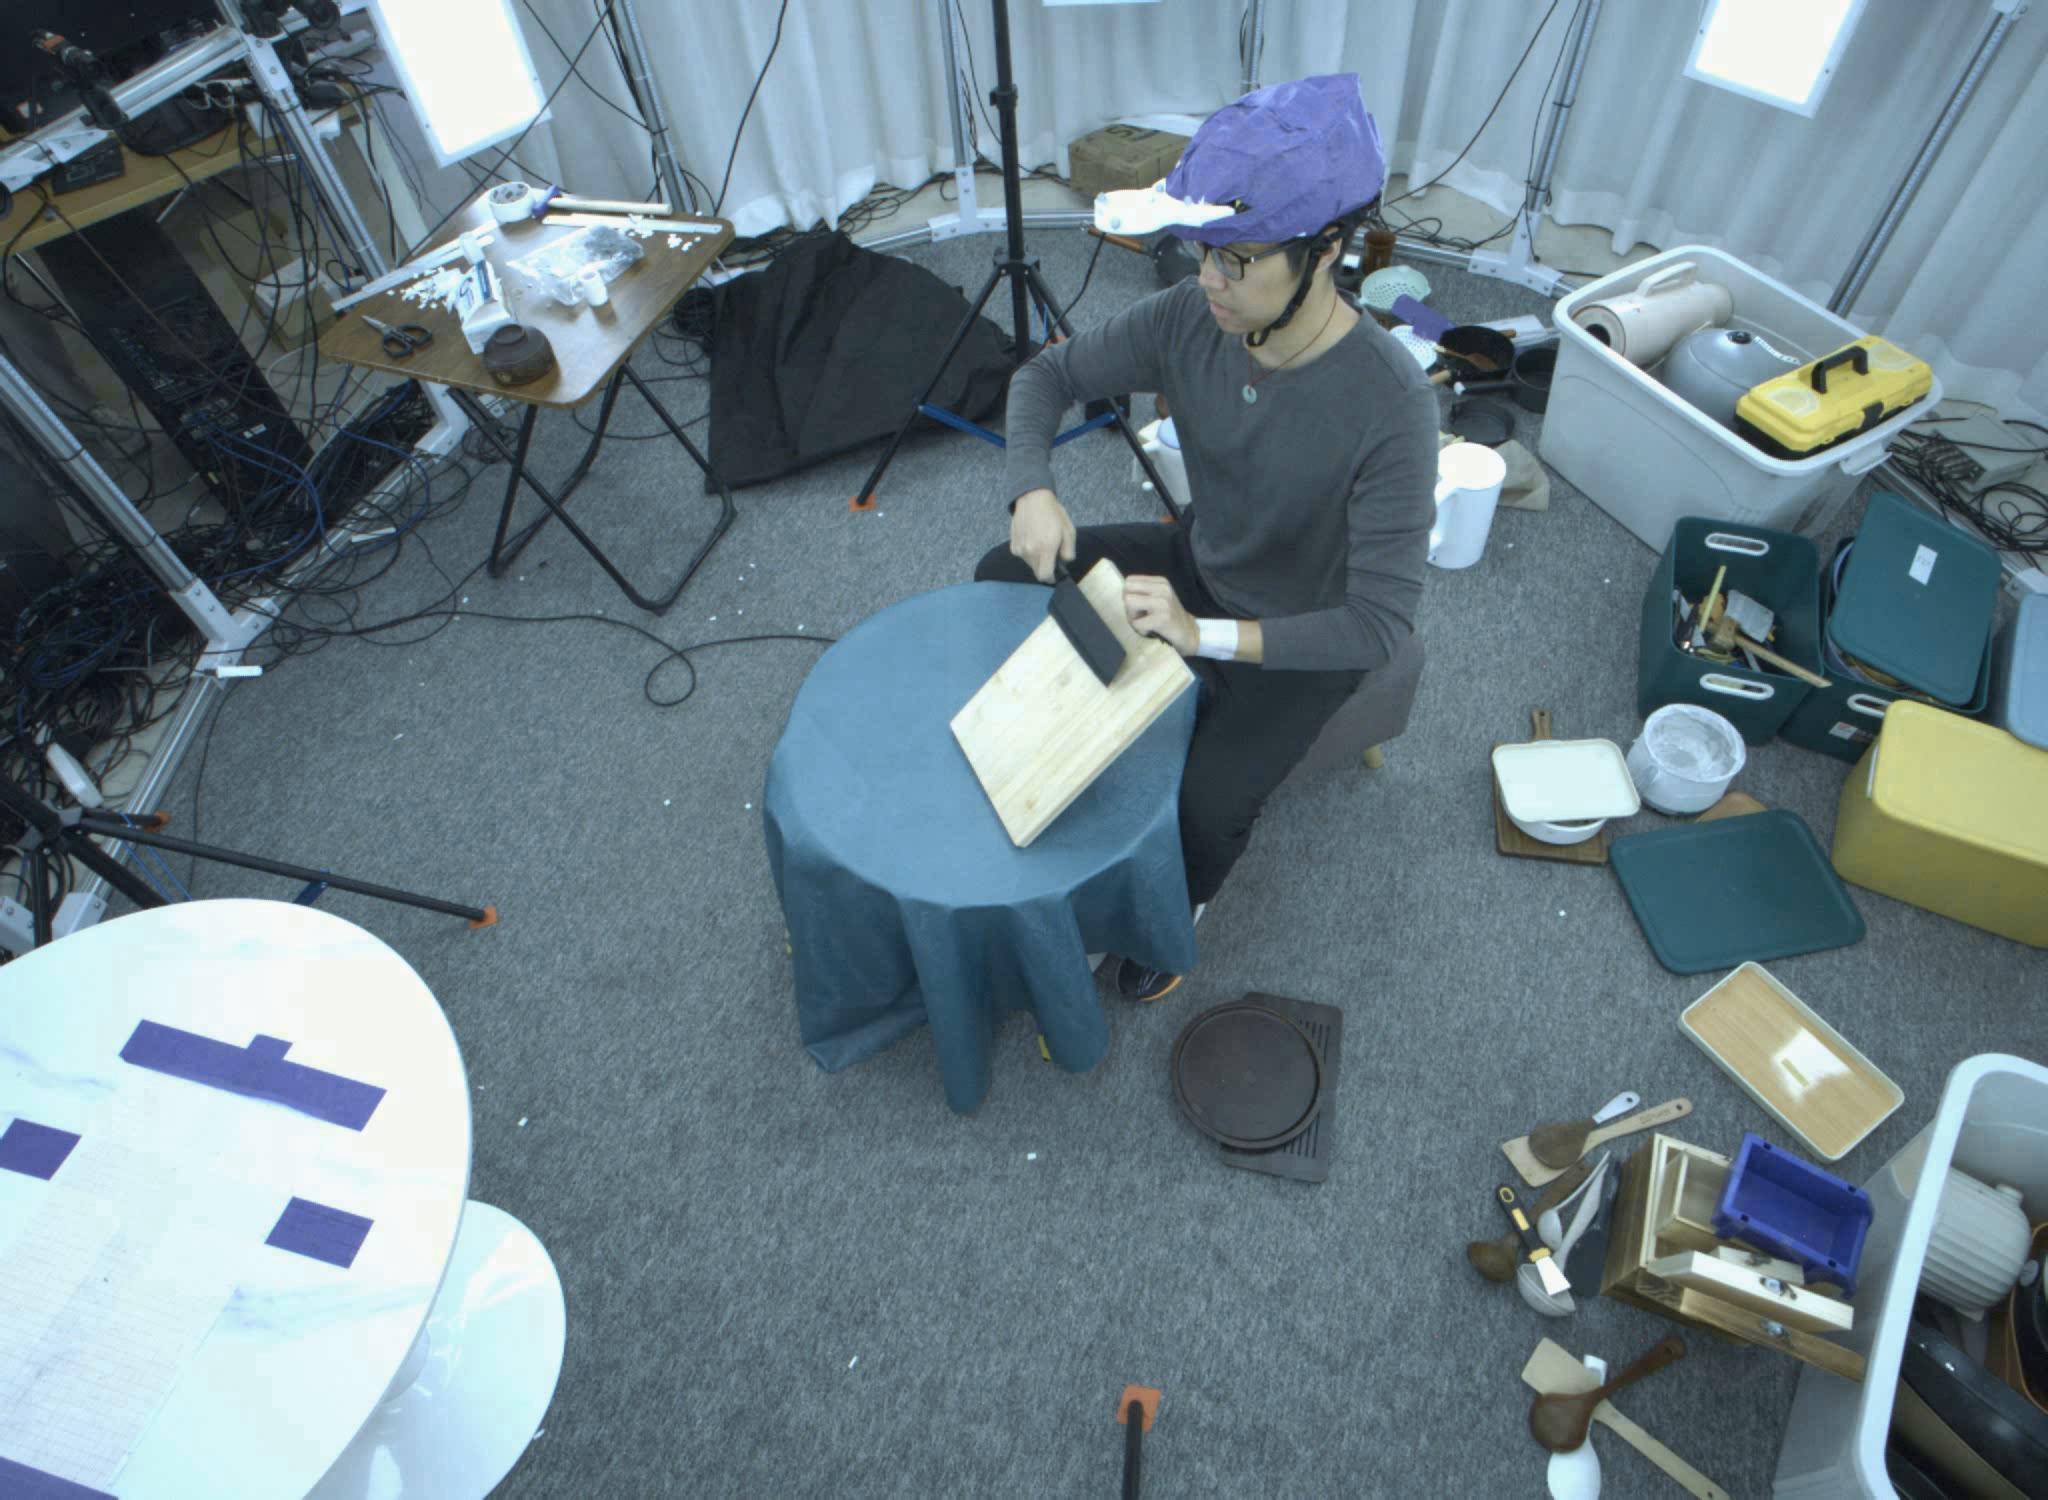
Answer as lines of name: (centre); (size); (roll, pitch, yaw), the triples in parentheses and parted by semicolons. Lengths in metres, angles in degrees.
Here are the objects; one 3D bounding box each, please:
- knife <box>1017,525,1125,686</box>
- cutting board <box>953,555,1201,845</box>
knife: (0.058, -0.208, 1.691); (0.021, 0.080, 0.297); (-1, 49, -37)
cutting board: (0.059, -0.069, 1.694); (0.347, 0.024, 0.246); (-46, 55, 21)
